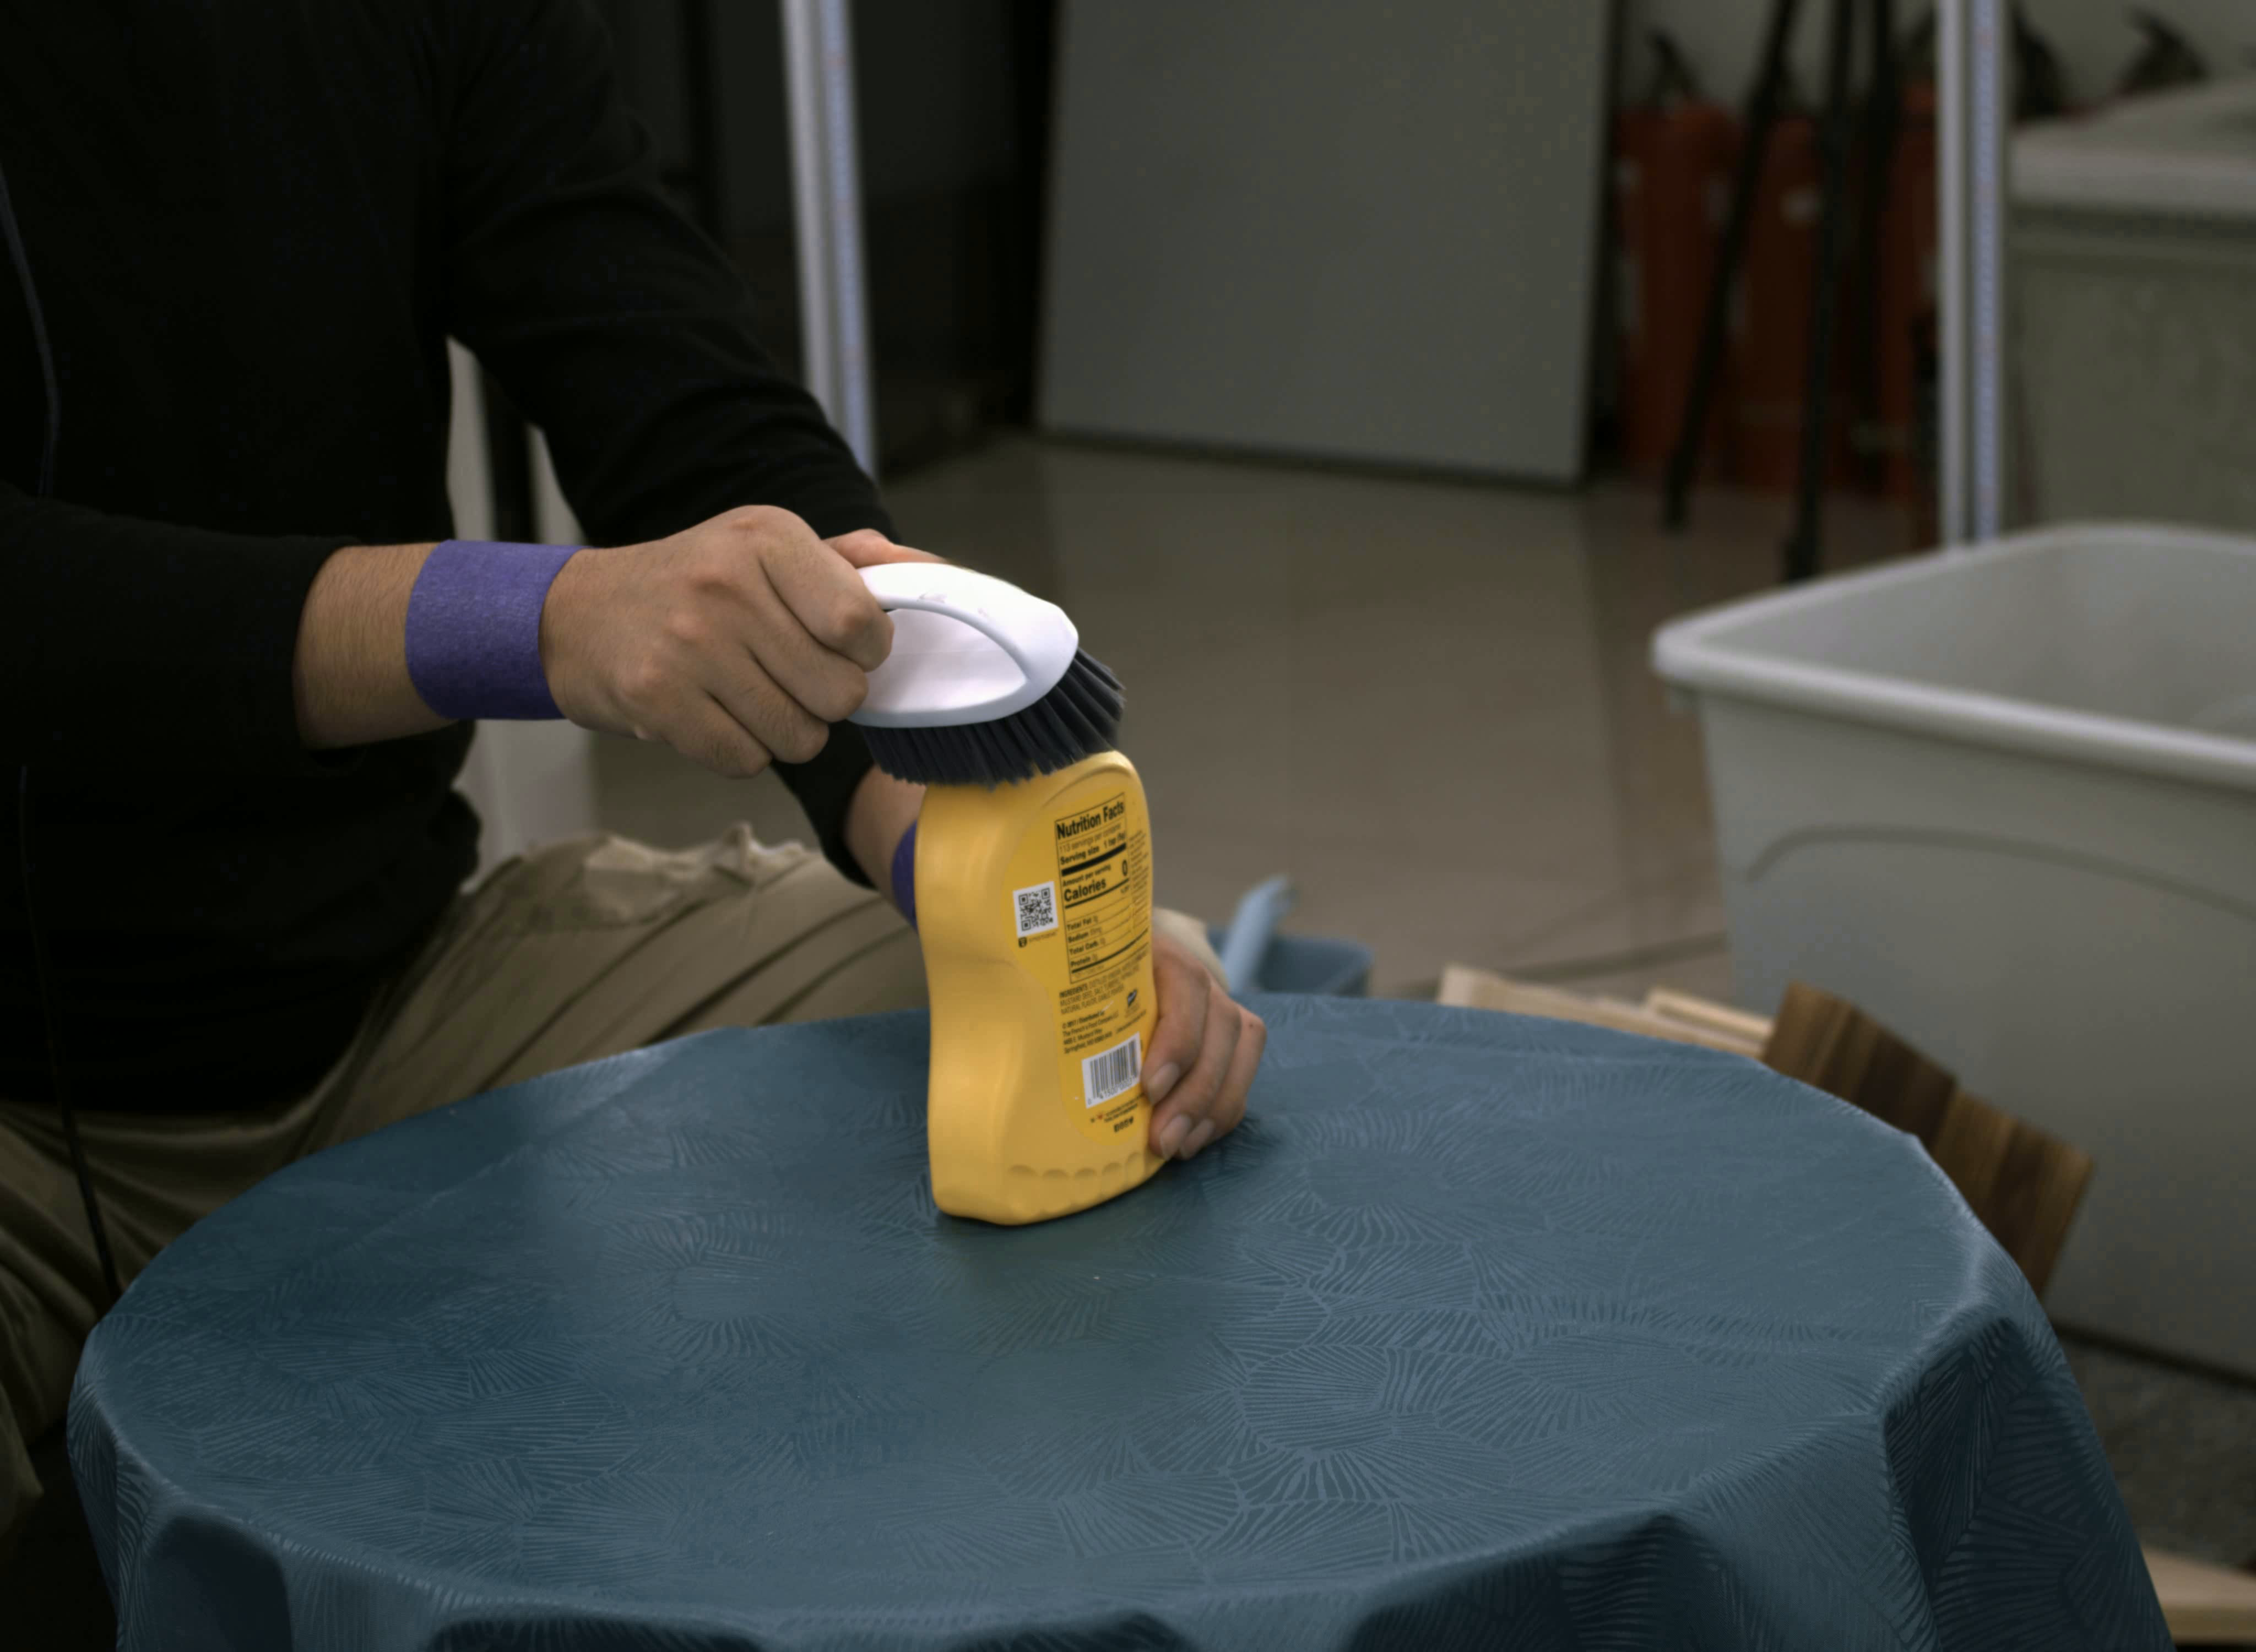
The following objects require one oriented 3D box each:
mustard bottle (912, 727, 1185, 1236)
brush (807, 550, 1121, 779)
[{"bbox_3d":[-0.028,0.040,1.754,0.059,0.174,0.096,2,14,36],"label":"mustard bottle"},{"bbox_3d":[-0.059,-0.057,1.698,0.100,0.072,0.050,1,50,44],"label":"brush"}]
